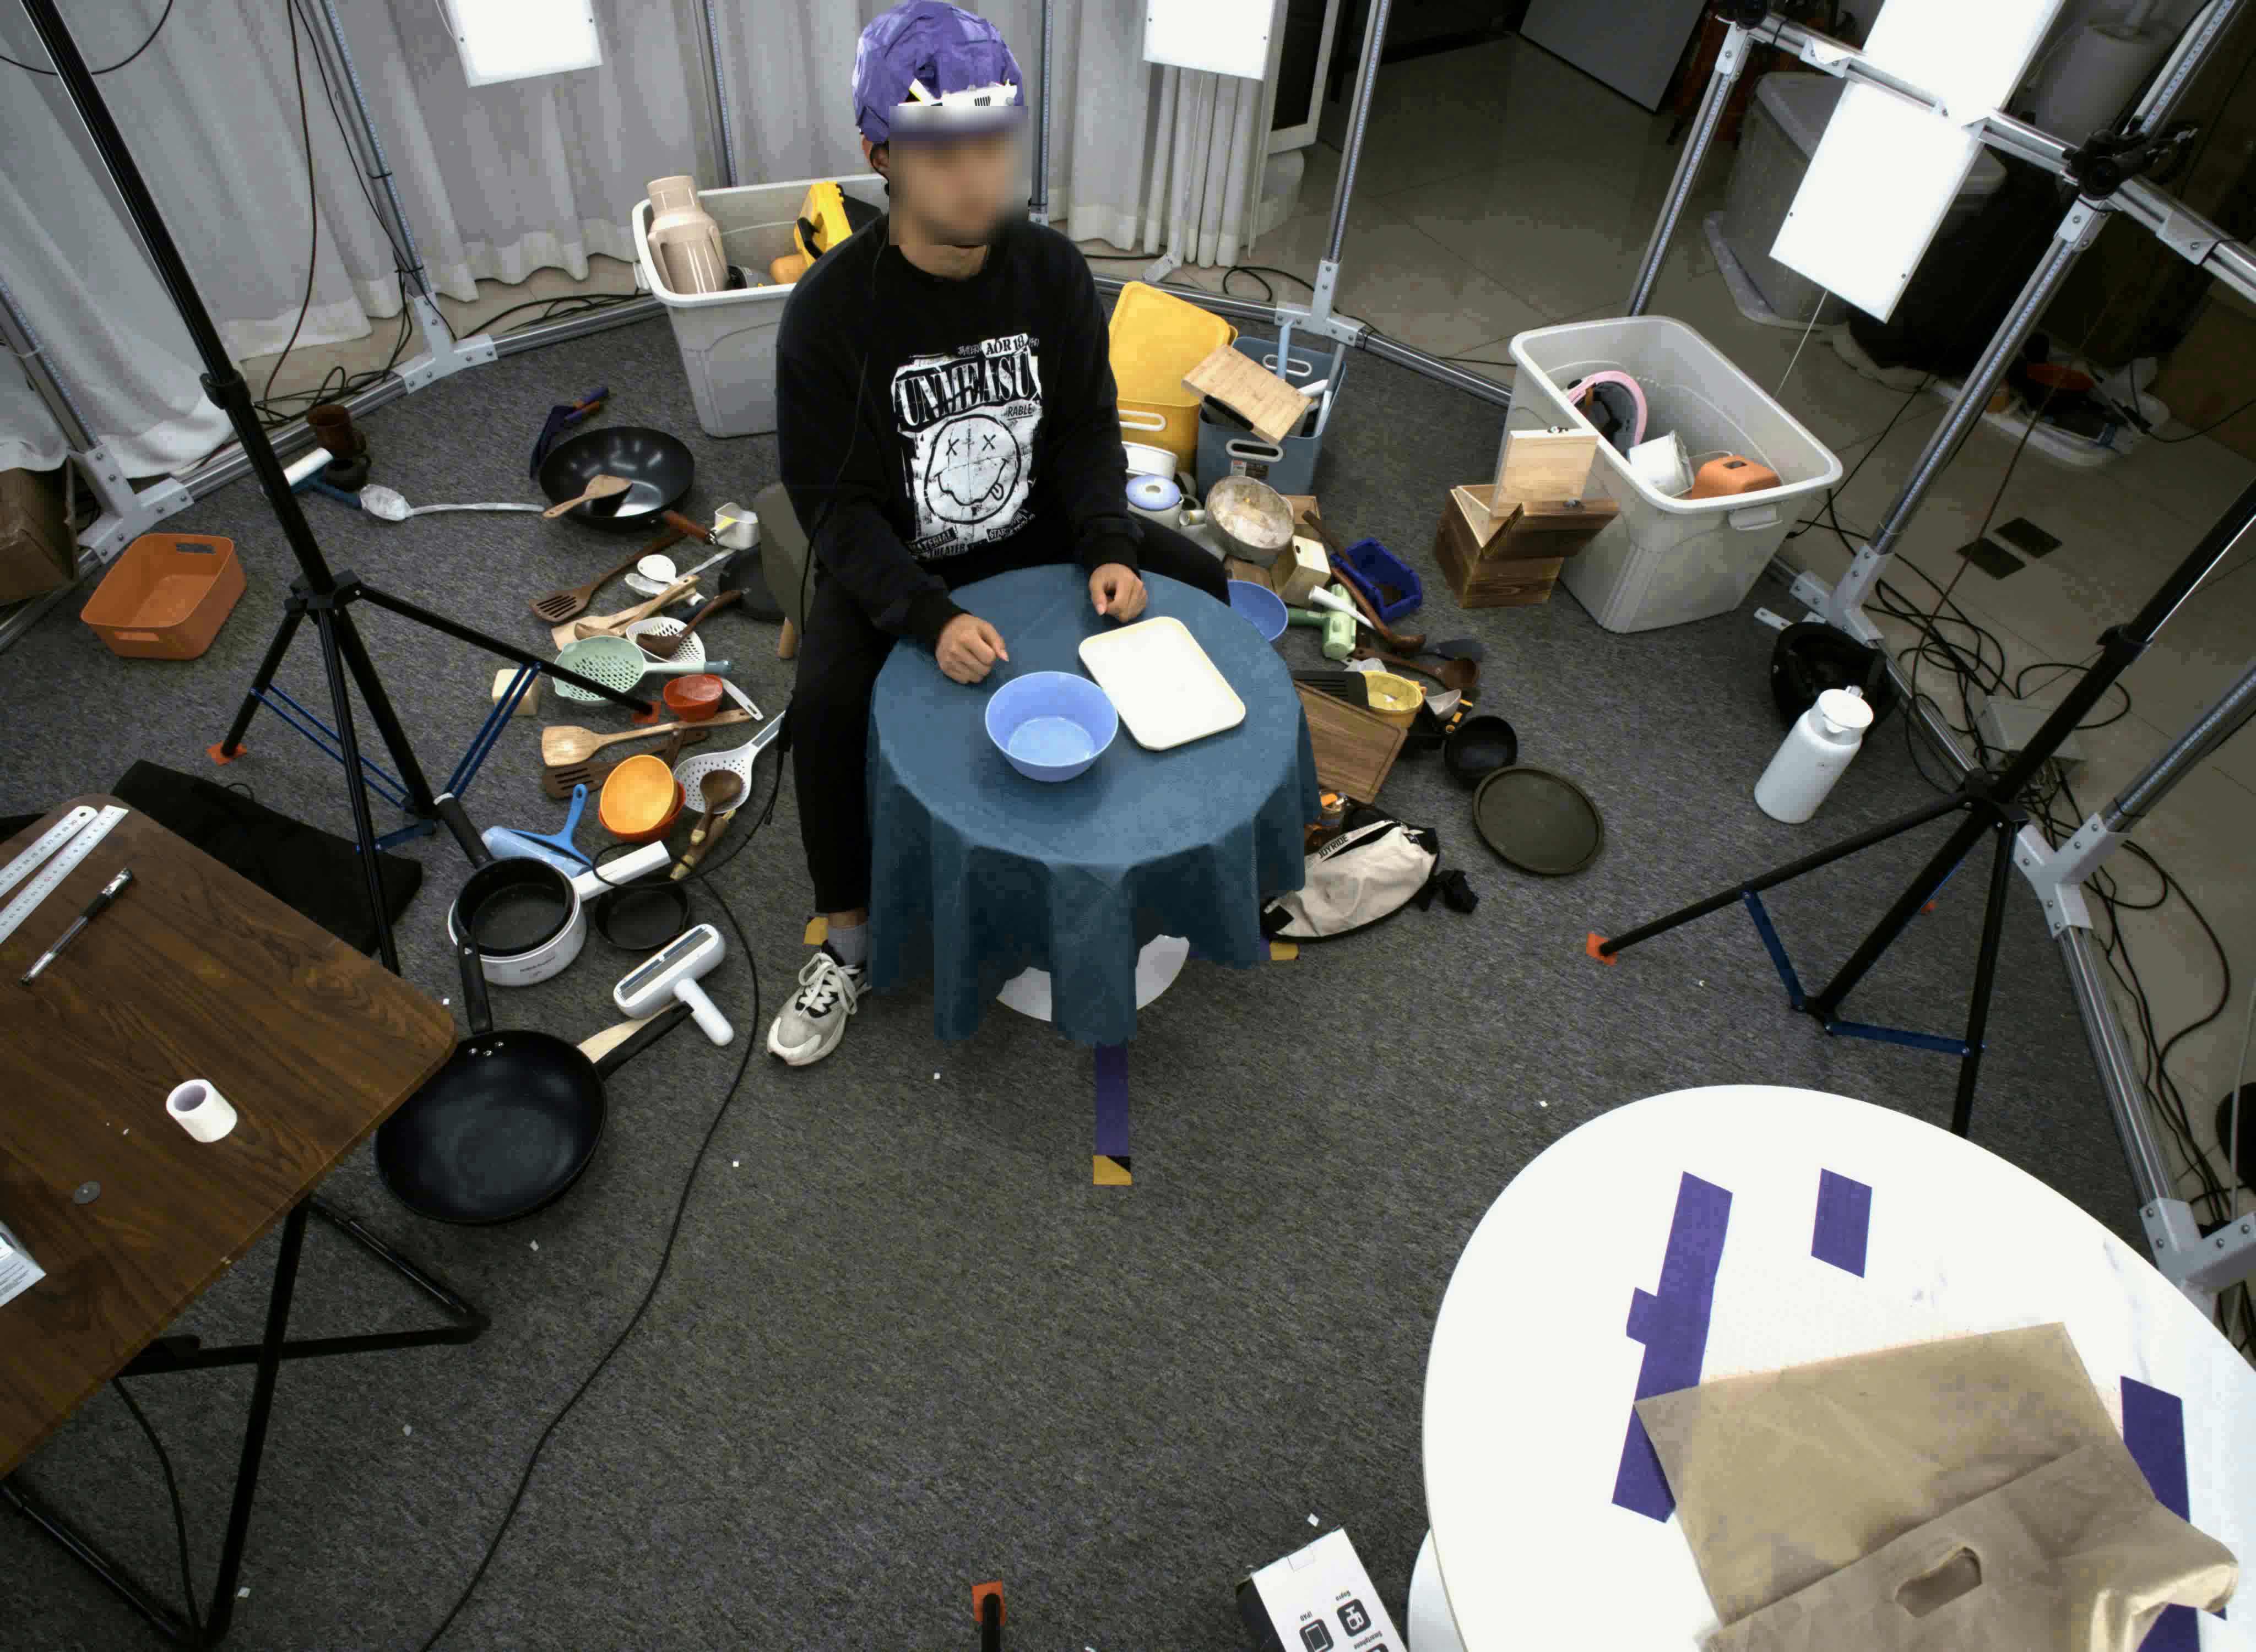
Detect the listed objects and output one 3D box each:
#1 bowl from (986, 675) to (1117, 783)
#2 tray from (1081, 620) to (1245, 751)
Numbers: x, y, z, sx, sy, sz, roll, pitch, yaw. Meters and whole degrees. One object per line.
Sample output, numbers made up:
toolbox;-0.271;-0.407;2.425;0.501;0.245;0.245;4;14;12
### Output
bowl;-0.104;-0.123;1.738;0.176;0.068;0.180;2;48;-3
tray;0.048;-0.205;1.854;0.171;0.017;0.245;-18;52;-19
